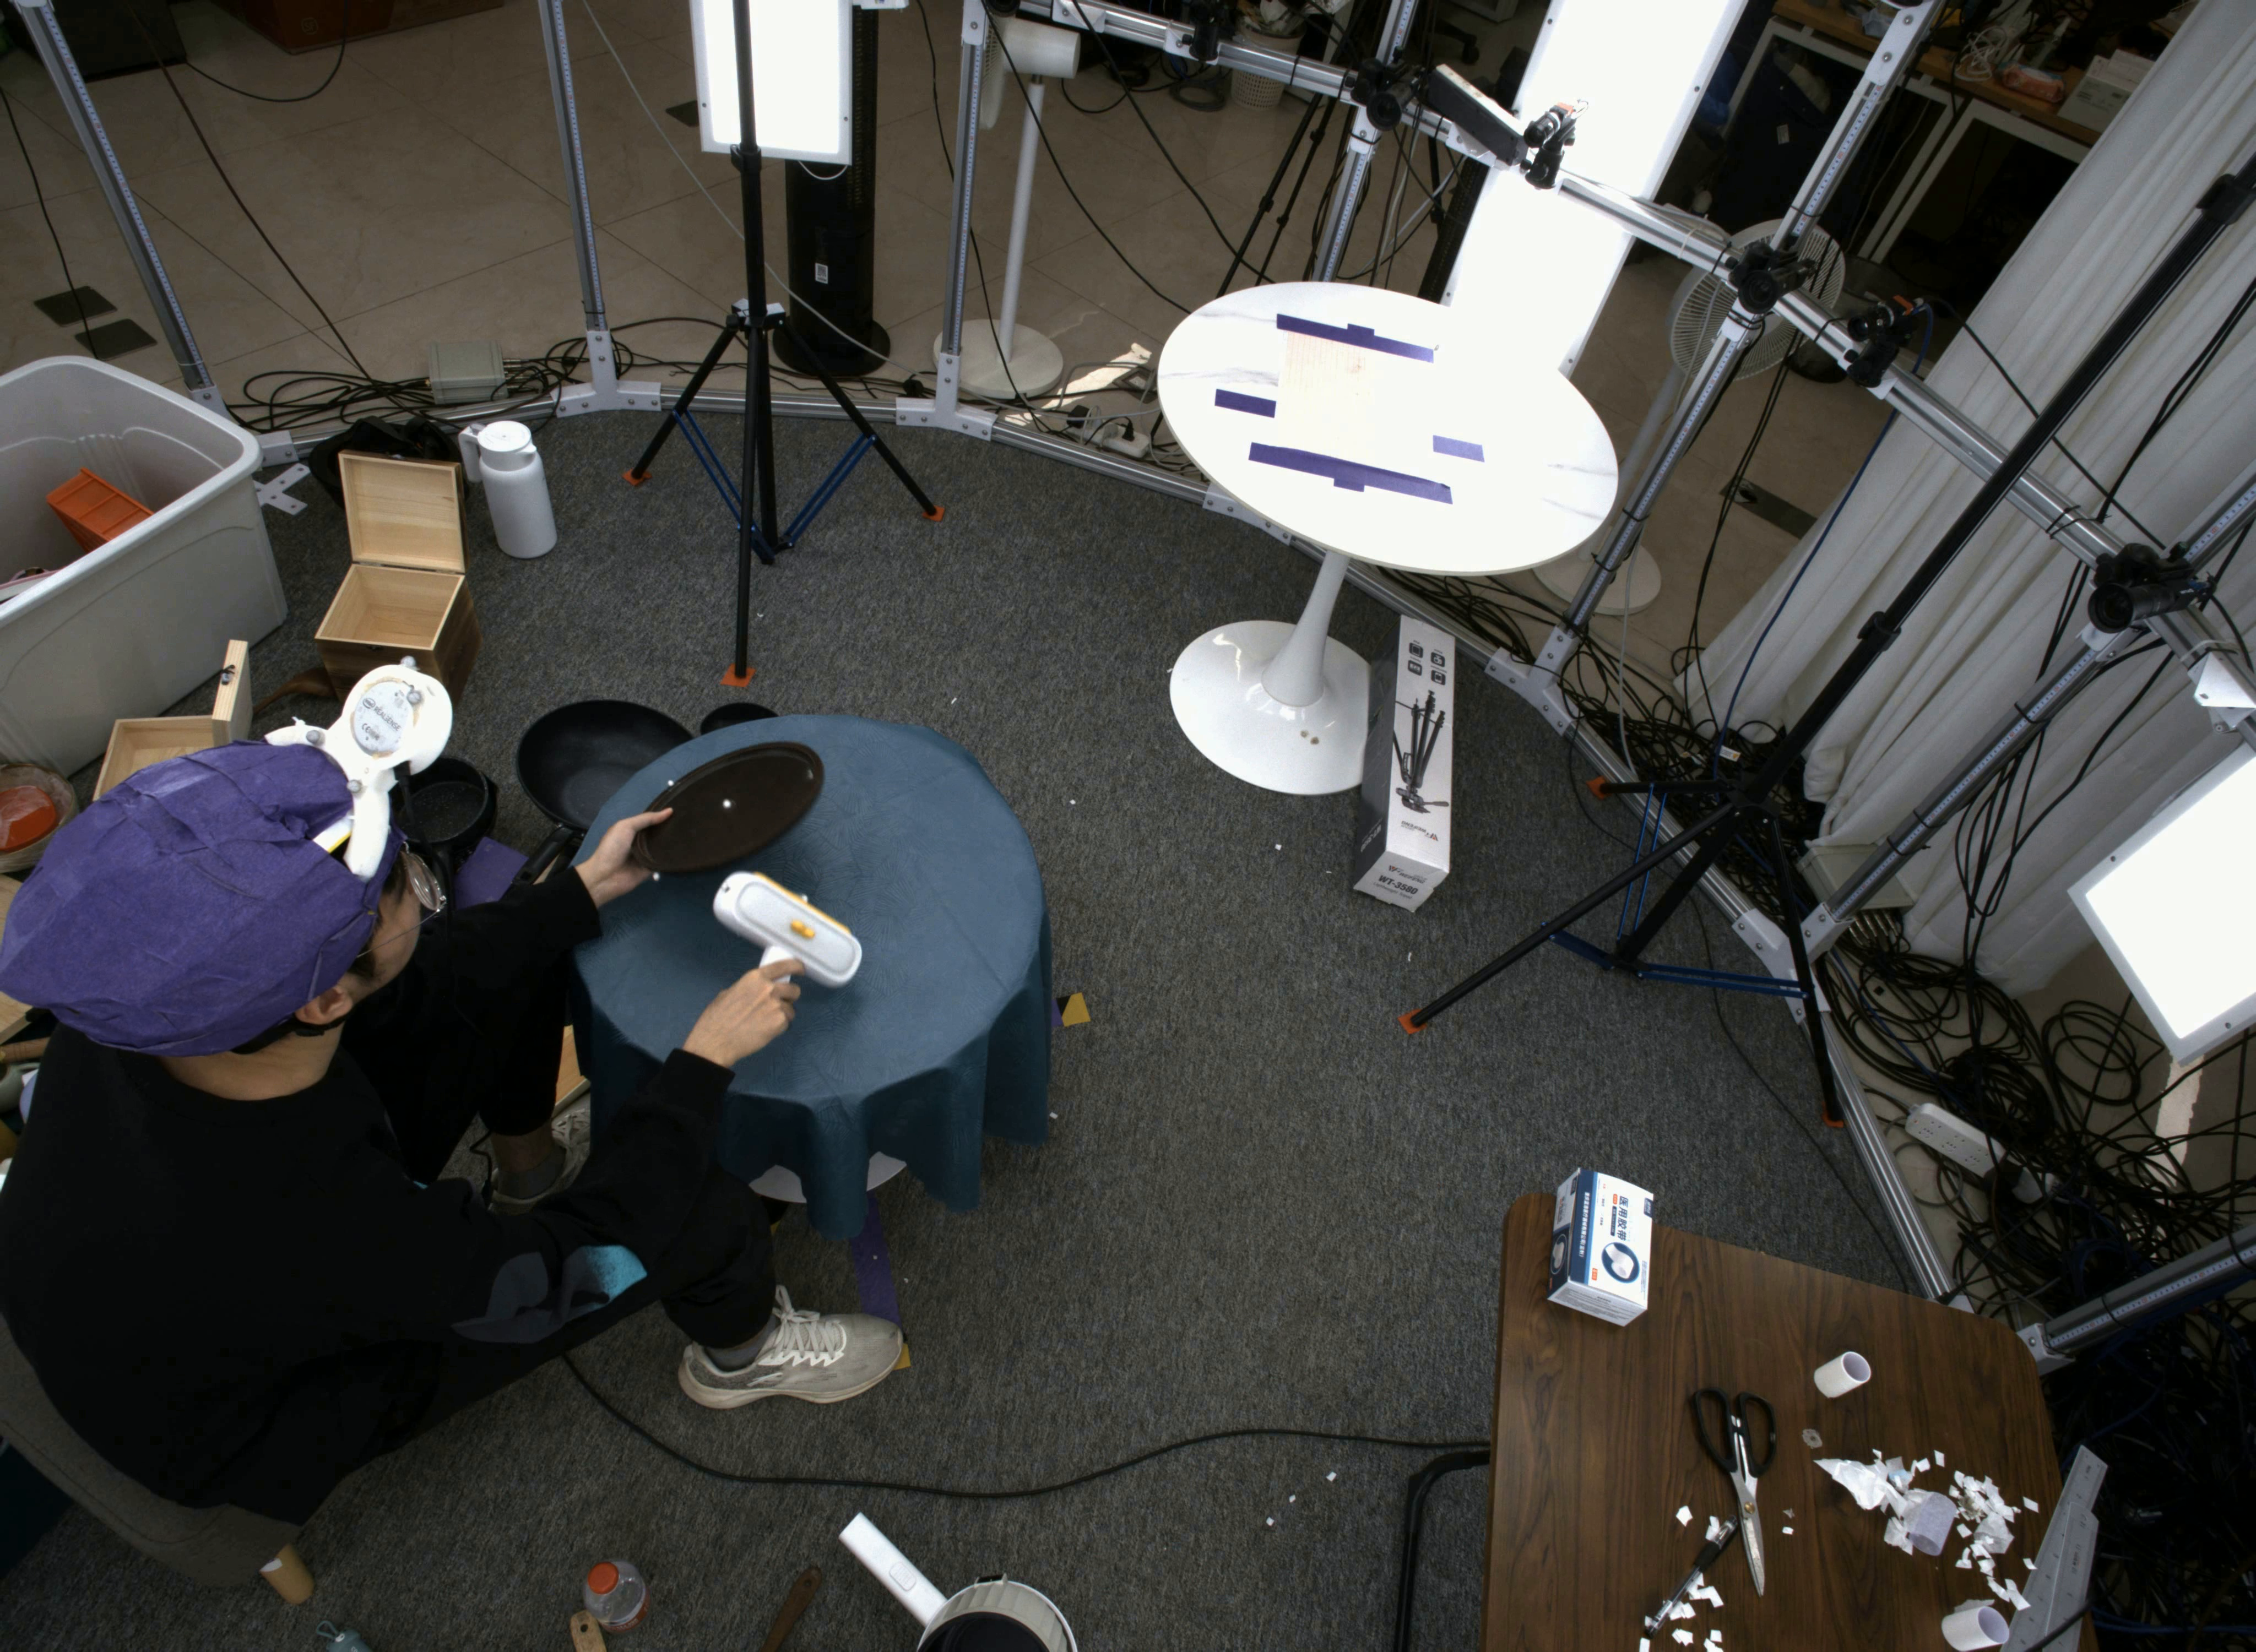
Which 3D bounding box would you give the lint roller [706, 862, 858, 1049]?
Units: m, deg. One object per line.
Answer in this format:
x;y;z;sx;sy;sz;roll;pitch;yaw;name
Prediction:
-0.406;0.159;1.480;0.200;0.072;0.191;39;55;-41;lint roller

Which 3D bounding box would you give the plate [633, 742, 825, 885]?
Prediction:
-0.489;-0.019;1.587;0.250;0.030;0.249;-11;38;10;plate
